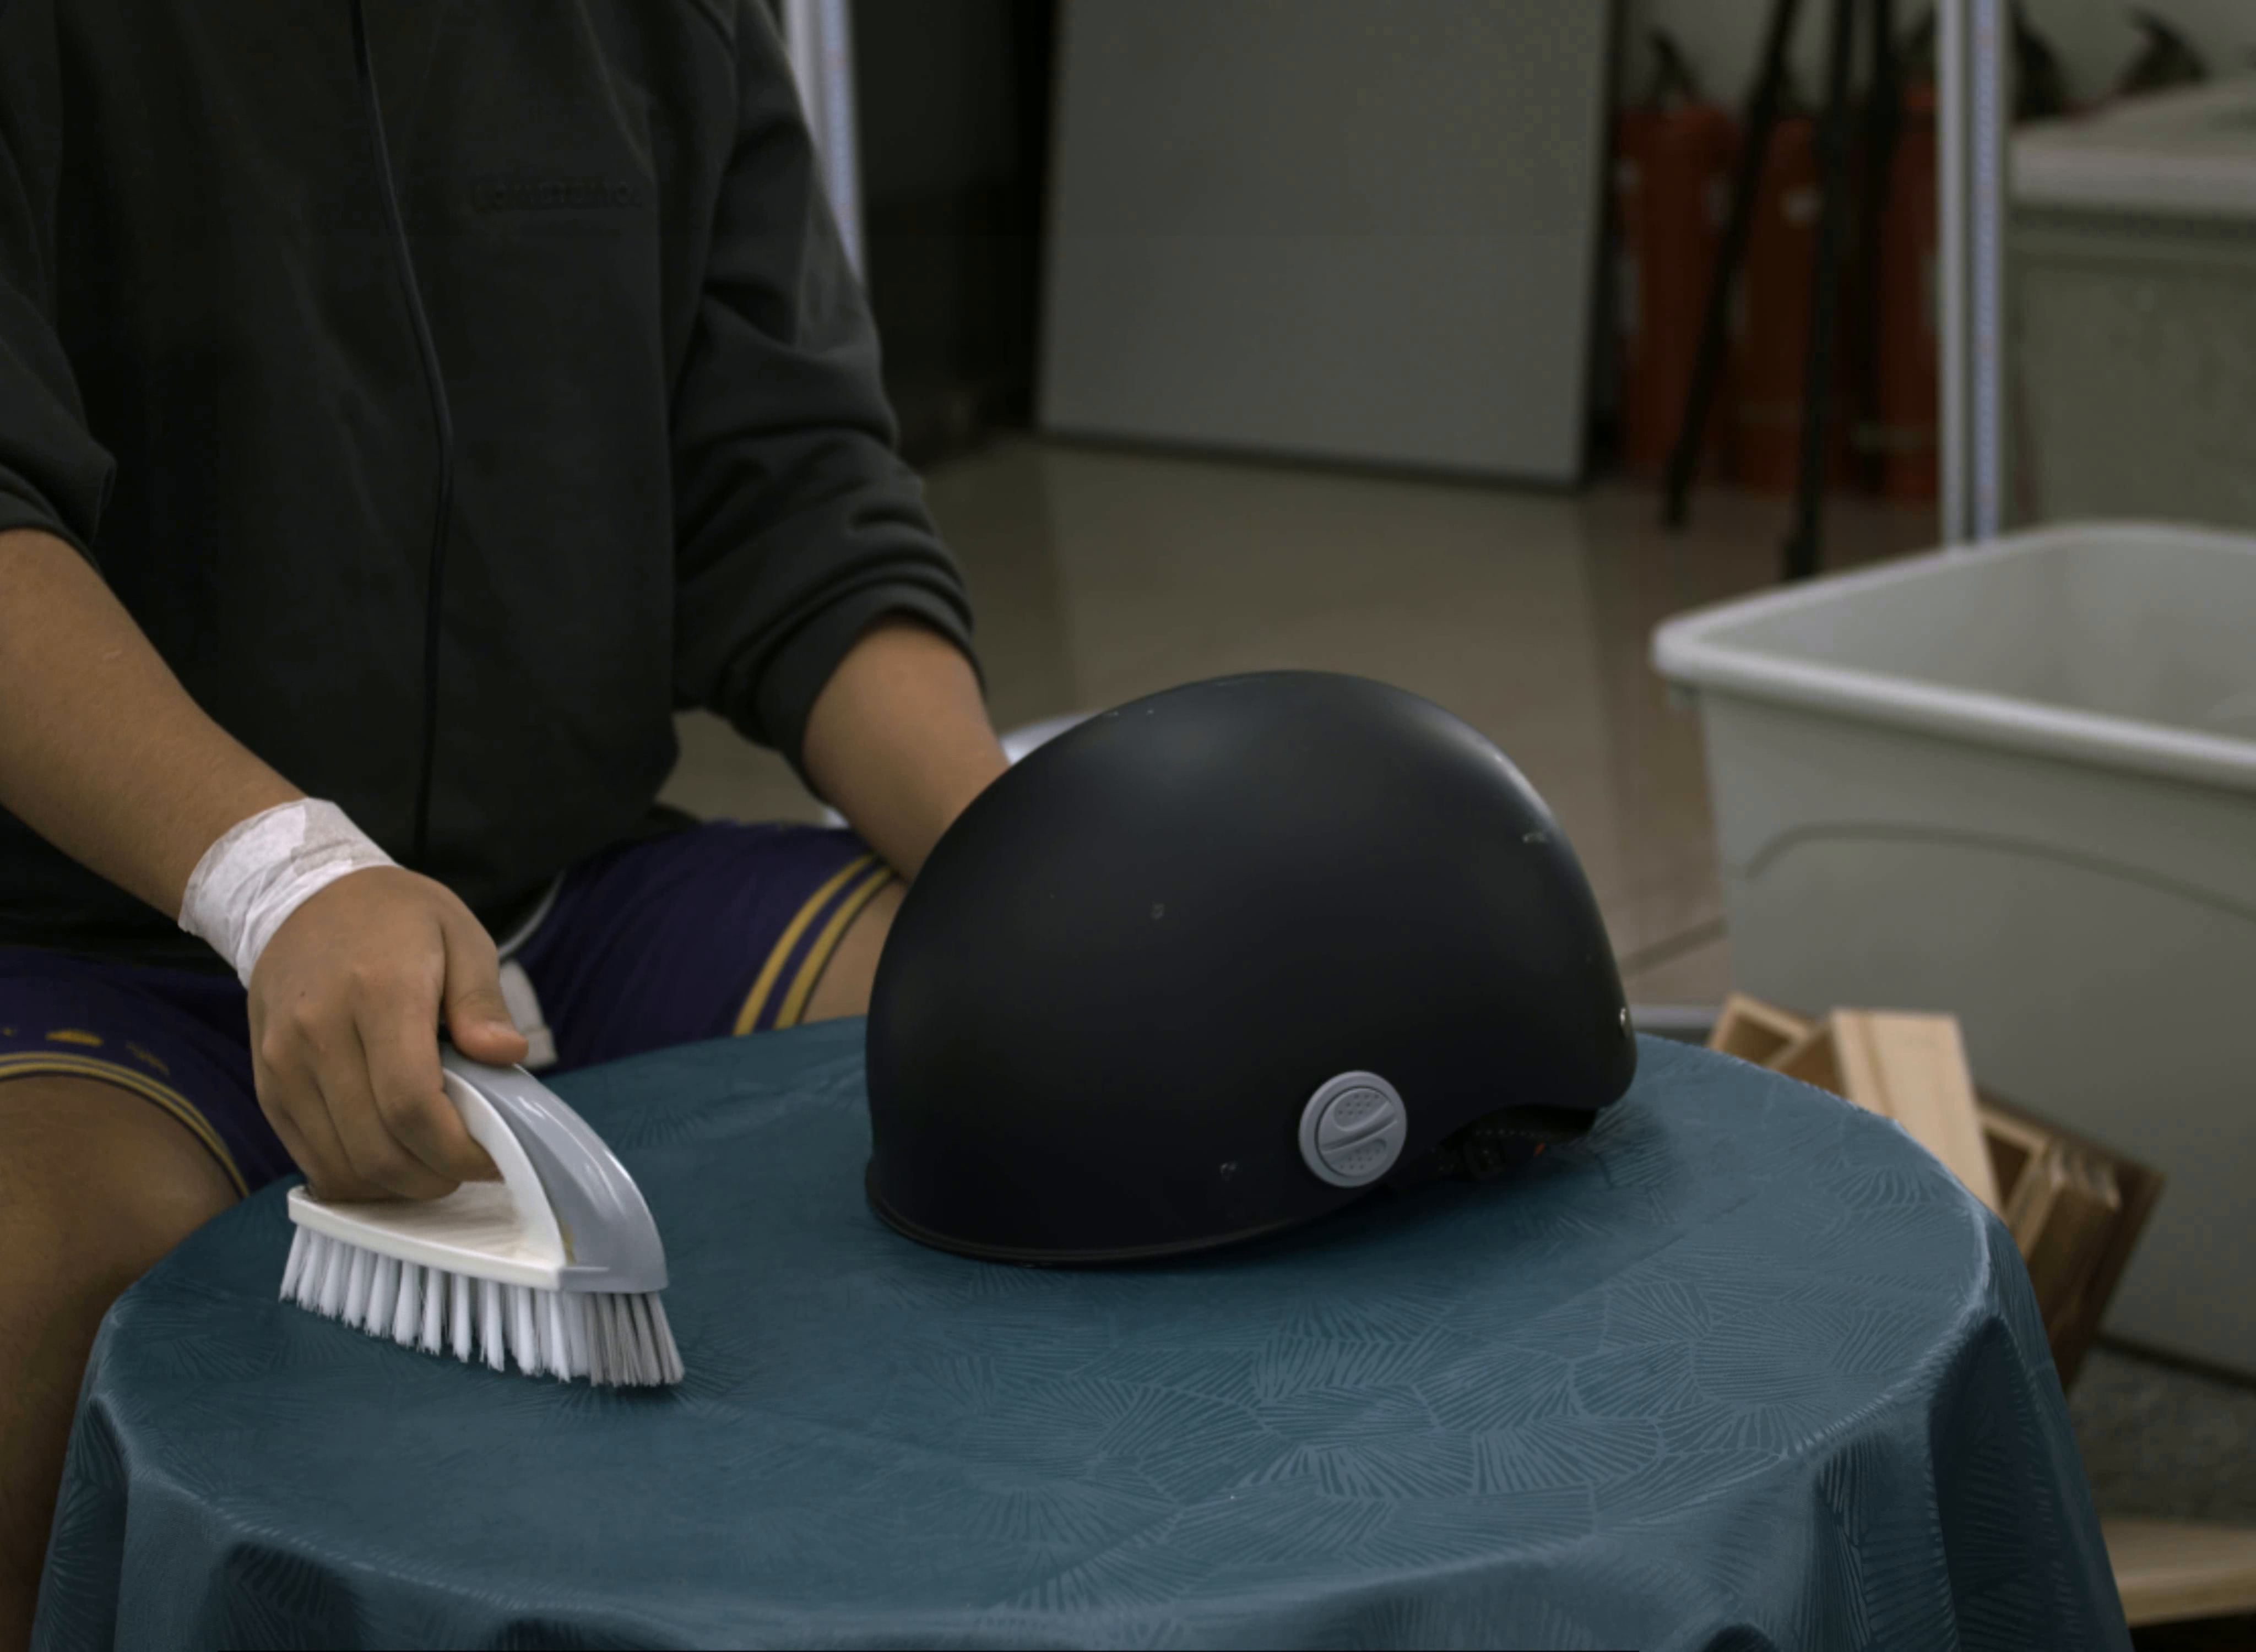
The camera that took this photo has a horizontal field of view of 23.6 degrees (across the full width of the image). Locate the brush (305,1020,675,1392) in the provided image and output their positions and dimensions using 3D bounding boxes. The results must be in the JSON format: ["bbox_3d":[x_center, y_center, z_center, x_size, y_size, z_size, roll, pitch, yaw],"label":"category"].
[{"bbox_3d":[-0.192,0.113,1.662,0.060,0.095,0.177,-12,18,-36],"label":"brush"}]

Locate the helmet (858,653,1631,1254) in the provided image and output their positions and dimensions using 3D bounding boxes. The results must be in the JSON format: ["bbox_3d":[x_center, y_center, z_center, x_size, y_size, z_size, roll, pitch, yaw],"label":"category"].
[{"bbox_3d":[0.033,0.033,1.784,0.267,0.168,0.232,-15,17,-31],"label":"helmet"}]
